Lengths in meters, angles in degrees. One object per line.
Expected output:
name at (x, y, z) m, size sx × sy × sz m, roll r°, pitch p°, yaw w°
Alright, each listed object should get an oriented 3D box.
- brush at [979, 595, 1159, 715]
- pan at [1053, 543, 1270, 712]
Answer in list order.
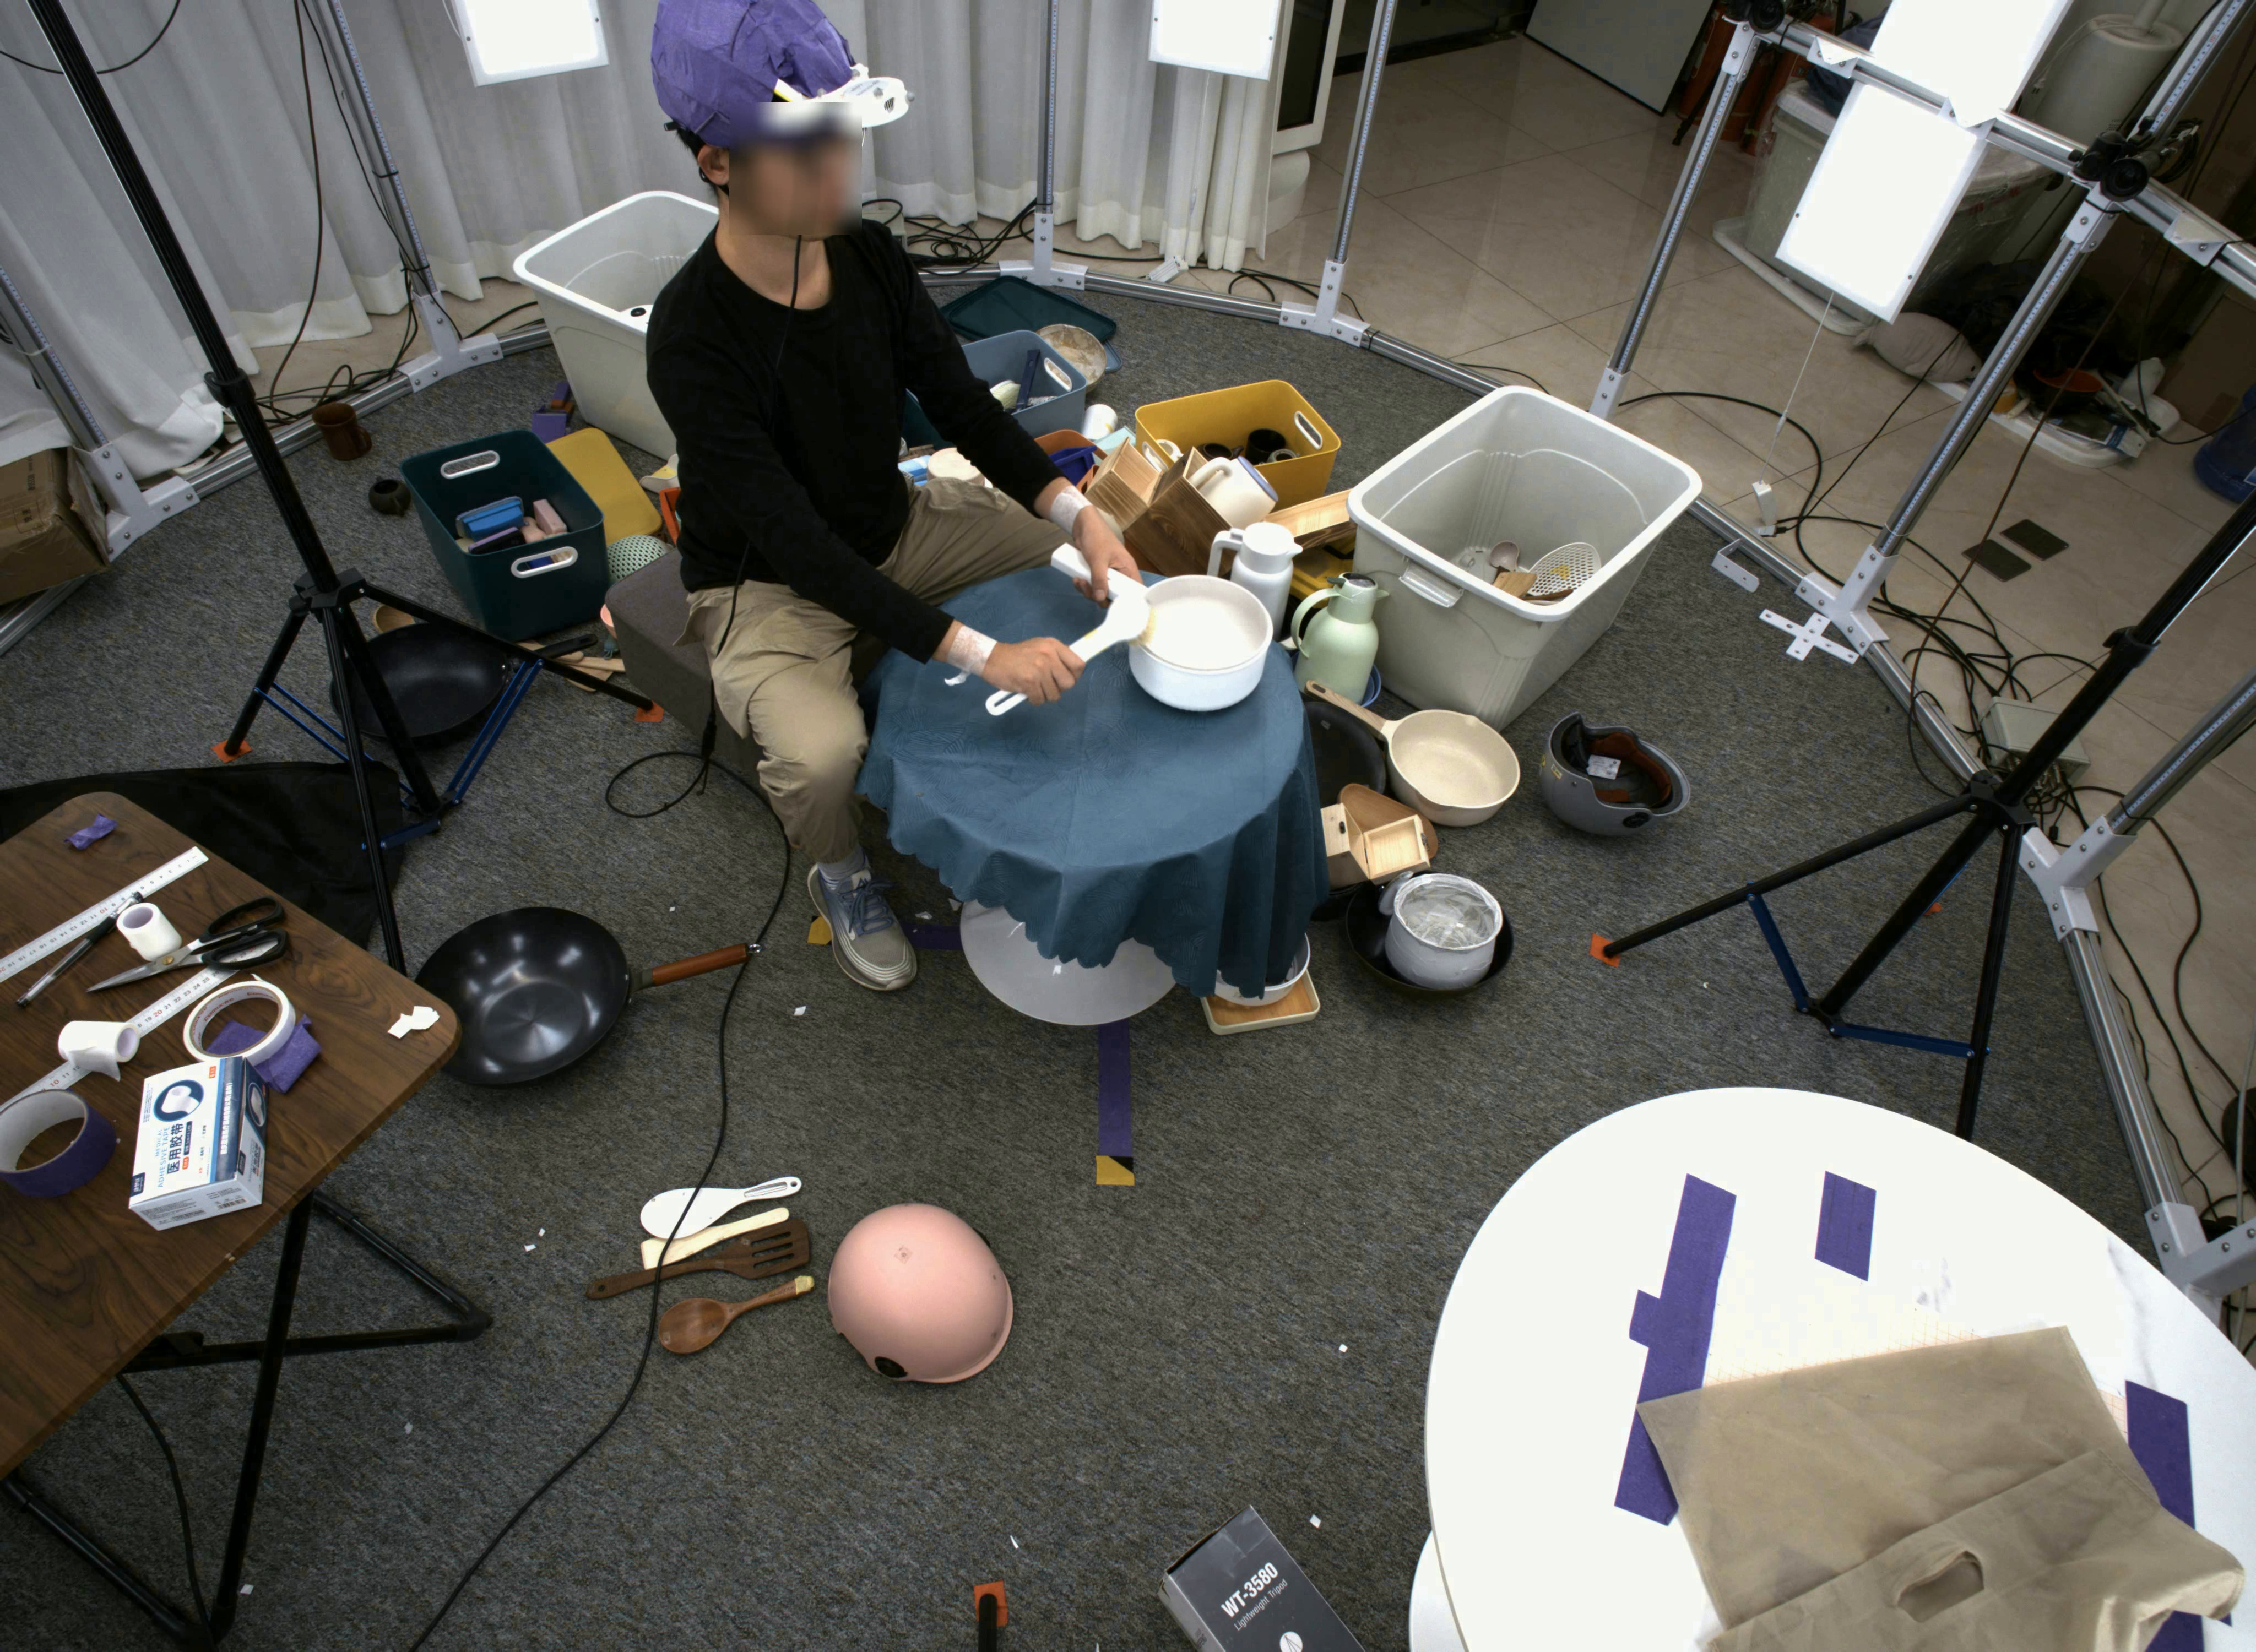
brush at (-0.078, -0.221, 1.725) m, size 0.266 × 0.055 × 0.070 m, roll -32°, pitch 65°, yaw 5°
pan at (0.037, -0.293, 1.865) m, size 0.359 × 0.099 × 0.204 m, roll 32°, pitch 55°, yaw 22°
